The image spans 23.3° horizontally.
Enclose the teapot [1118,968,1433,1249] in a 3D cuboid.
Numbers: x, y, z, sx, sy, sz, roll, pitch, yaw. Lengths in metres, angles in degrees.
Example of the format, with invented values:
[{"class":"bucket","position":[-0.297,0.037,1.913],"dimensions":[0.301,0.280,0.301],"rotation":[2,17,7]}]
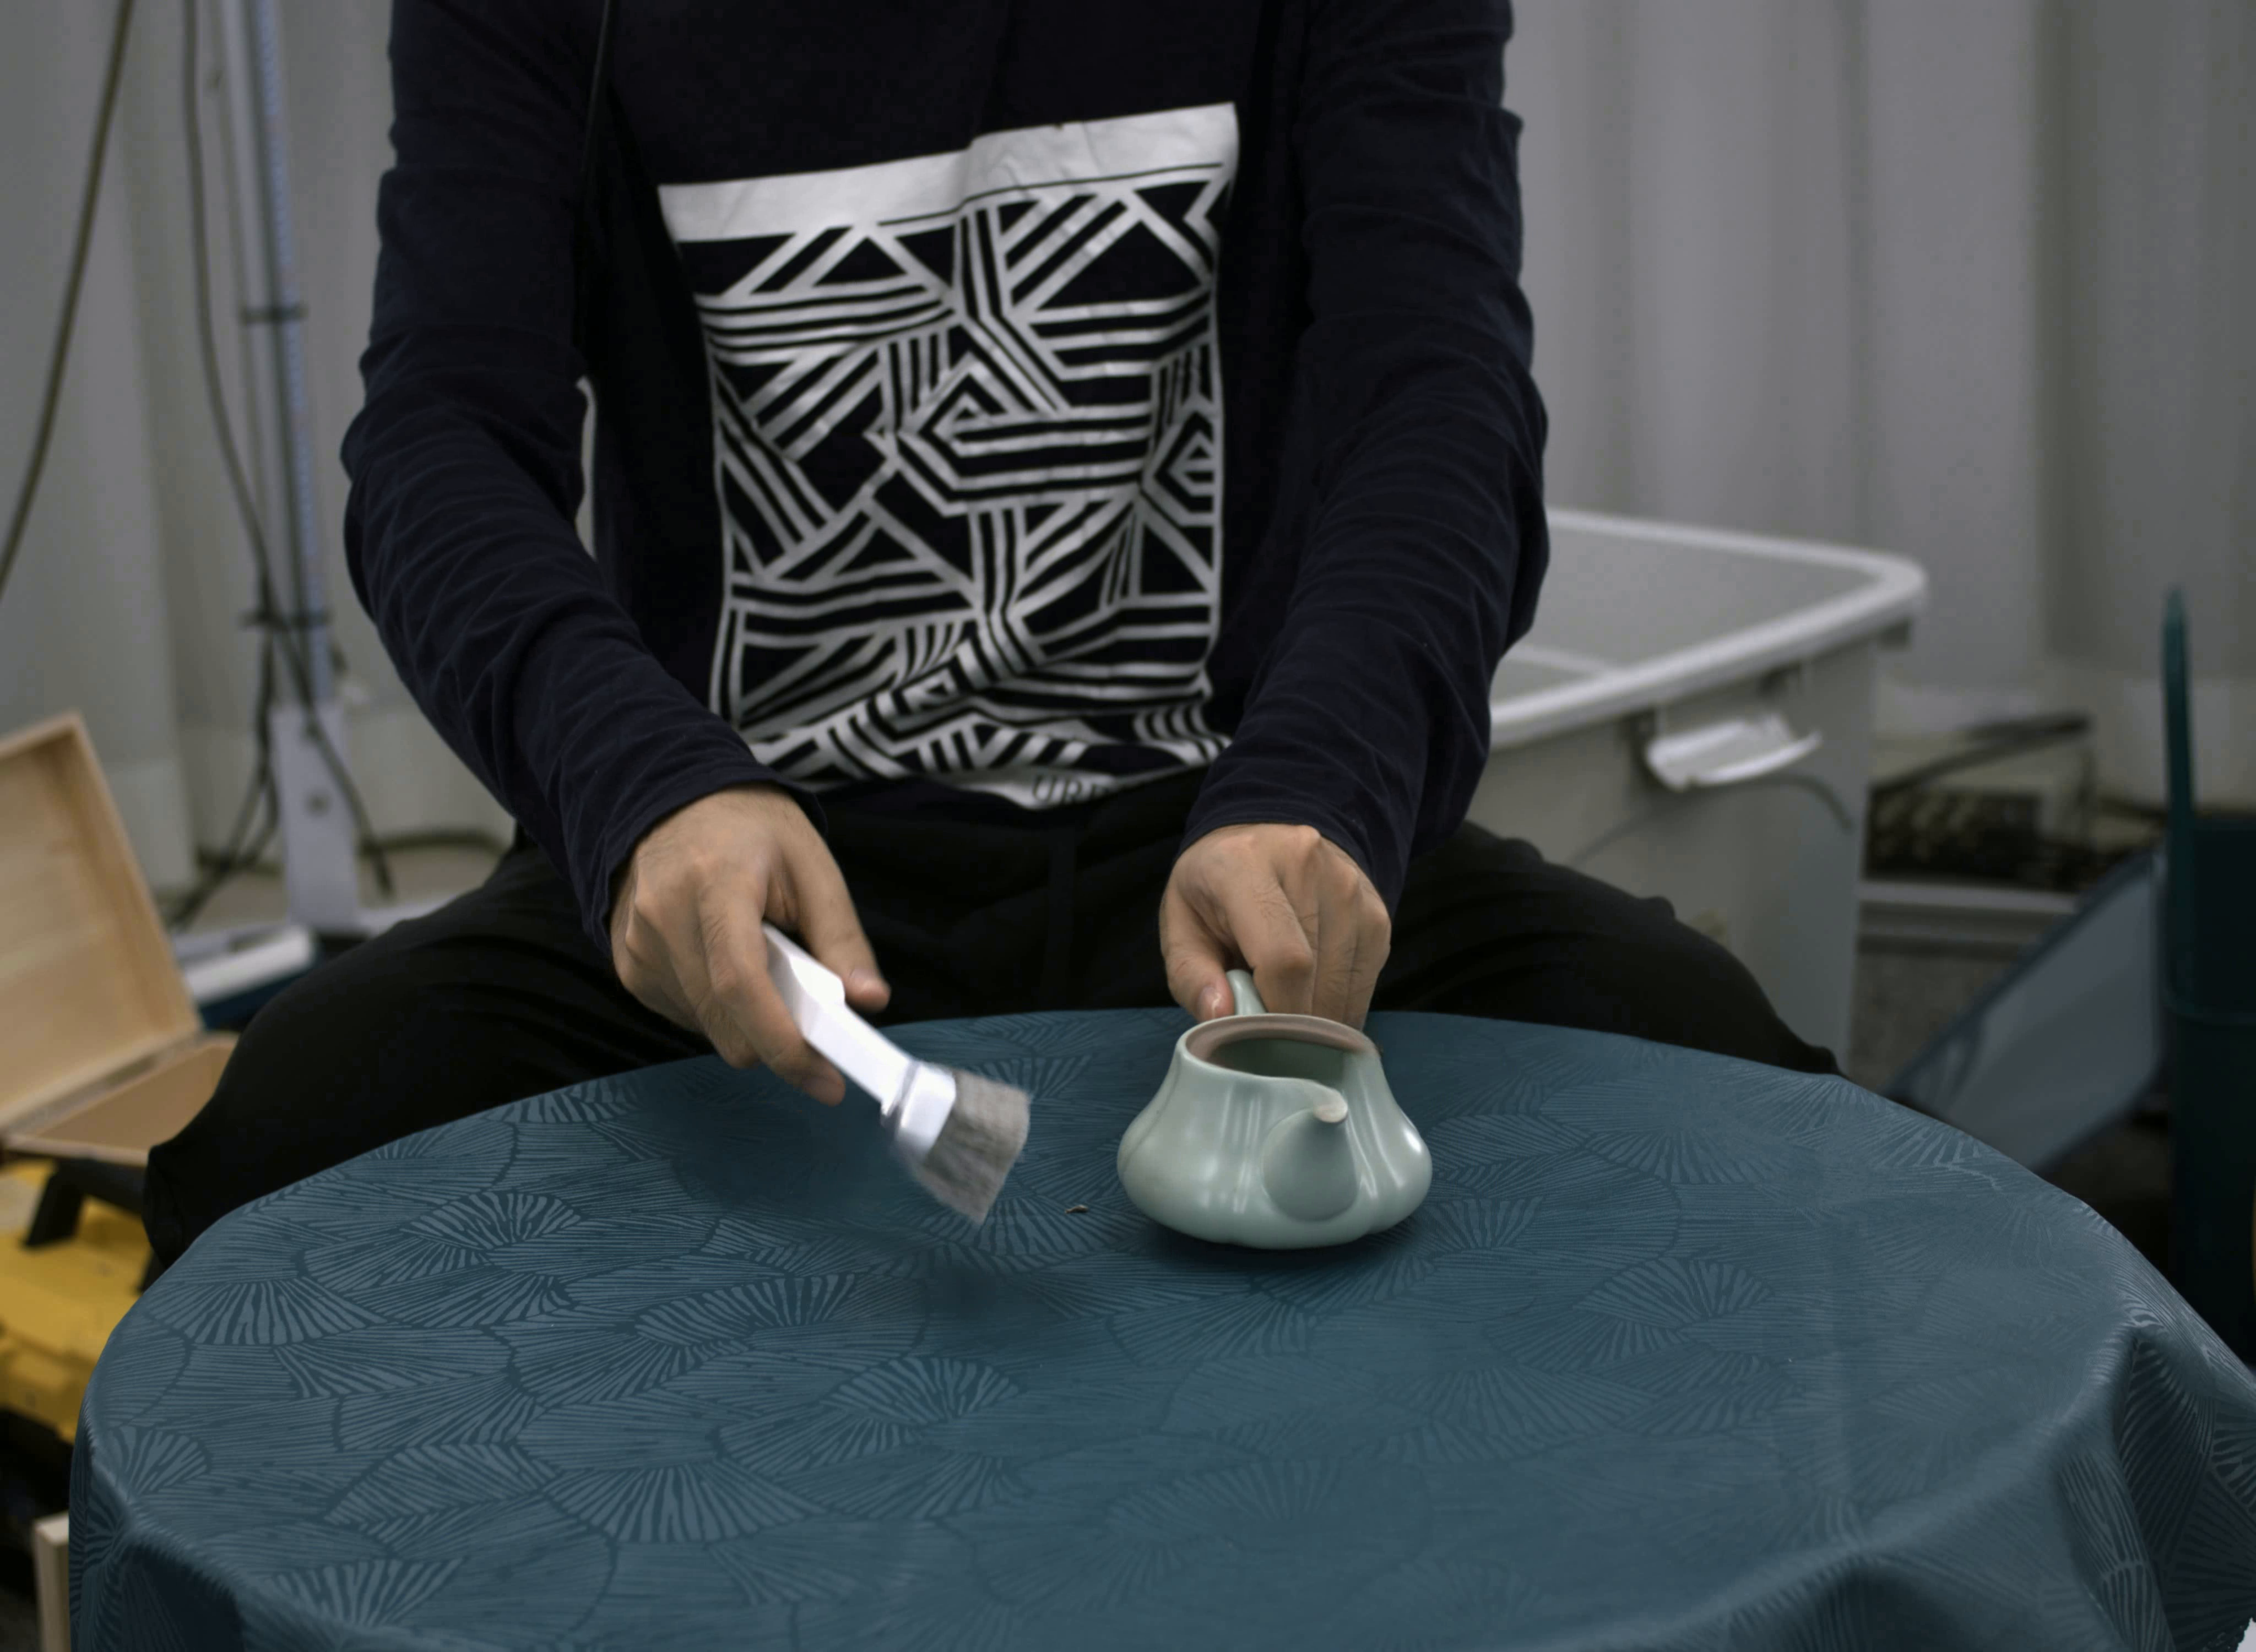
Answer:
[{"class":"teapot","position":[0.044,0.090,1.674],"dimensions":[0.096,0.061,0.138],"rotation":[-7,19,-13]}]

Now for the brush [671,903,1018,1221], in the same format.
[{"class":"brush","position":[-0.087,0.070,1.701],"dimensions":[0.050,0.034,0.246],"rotation":[20,6,-25]}]
